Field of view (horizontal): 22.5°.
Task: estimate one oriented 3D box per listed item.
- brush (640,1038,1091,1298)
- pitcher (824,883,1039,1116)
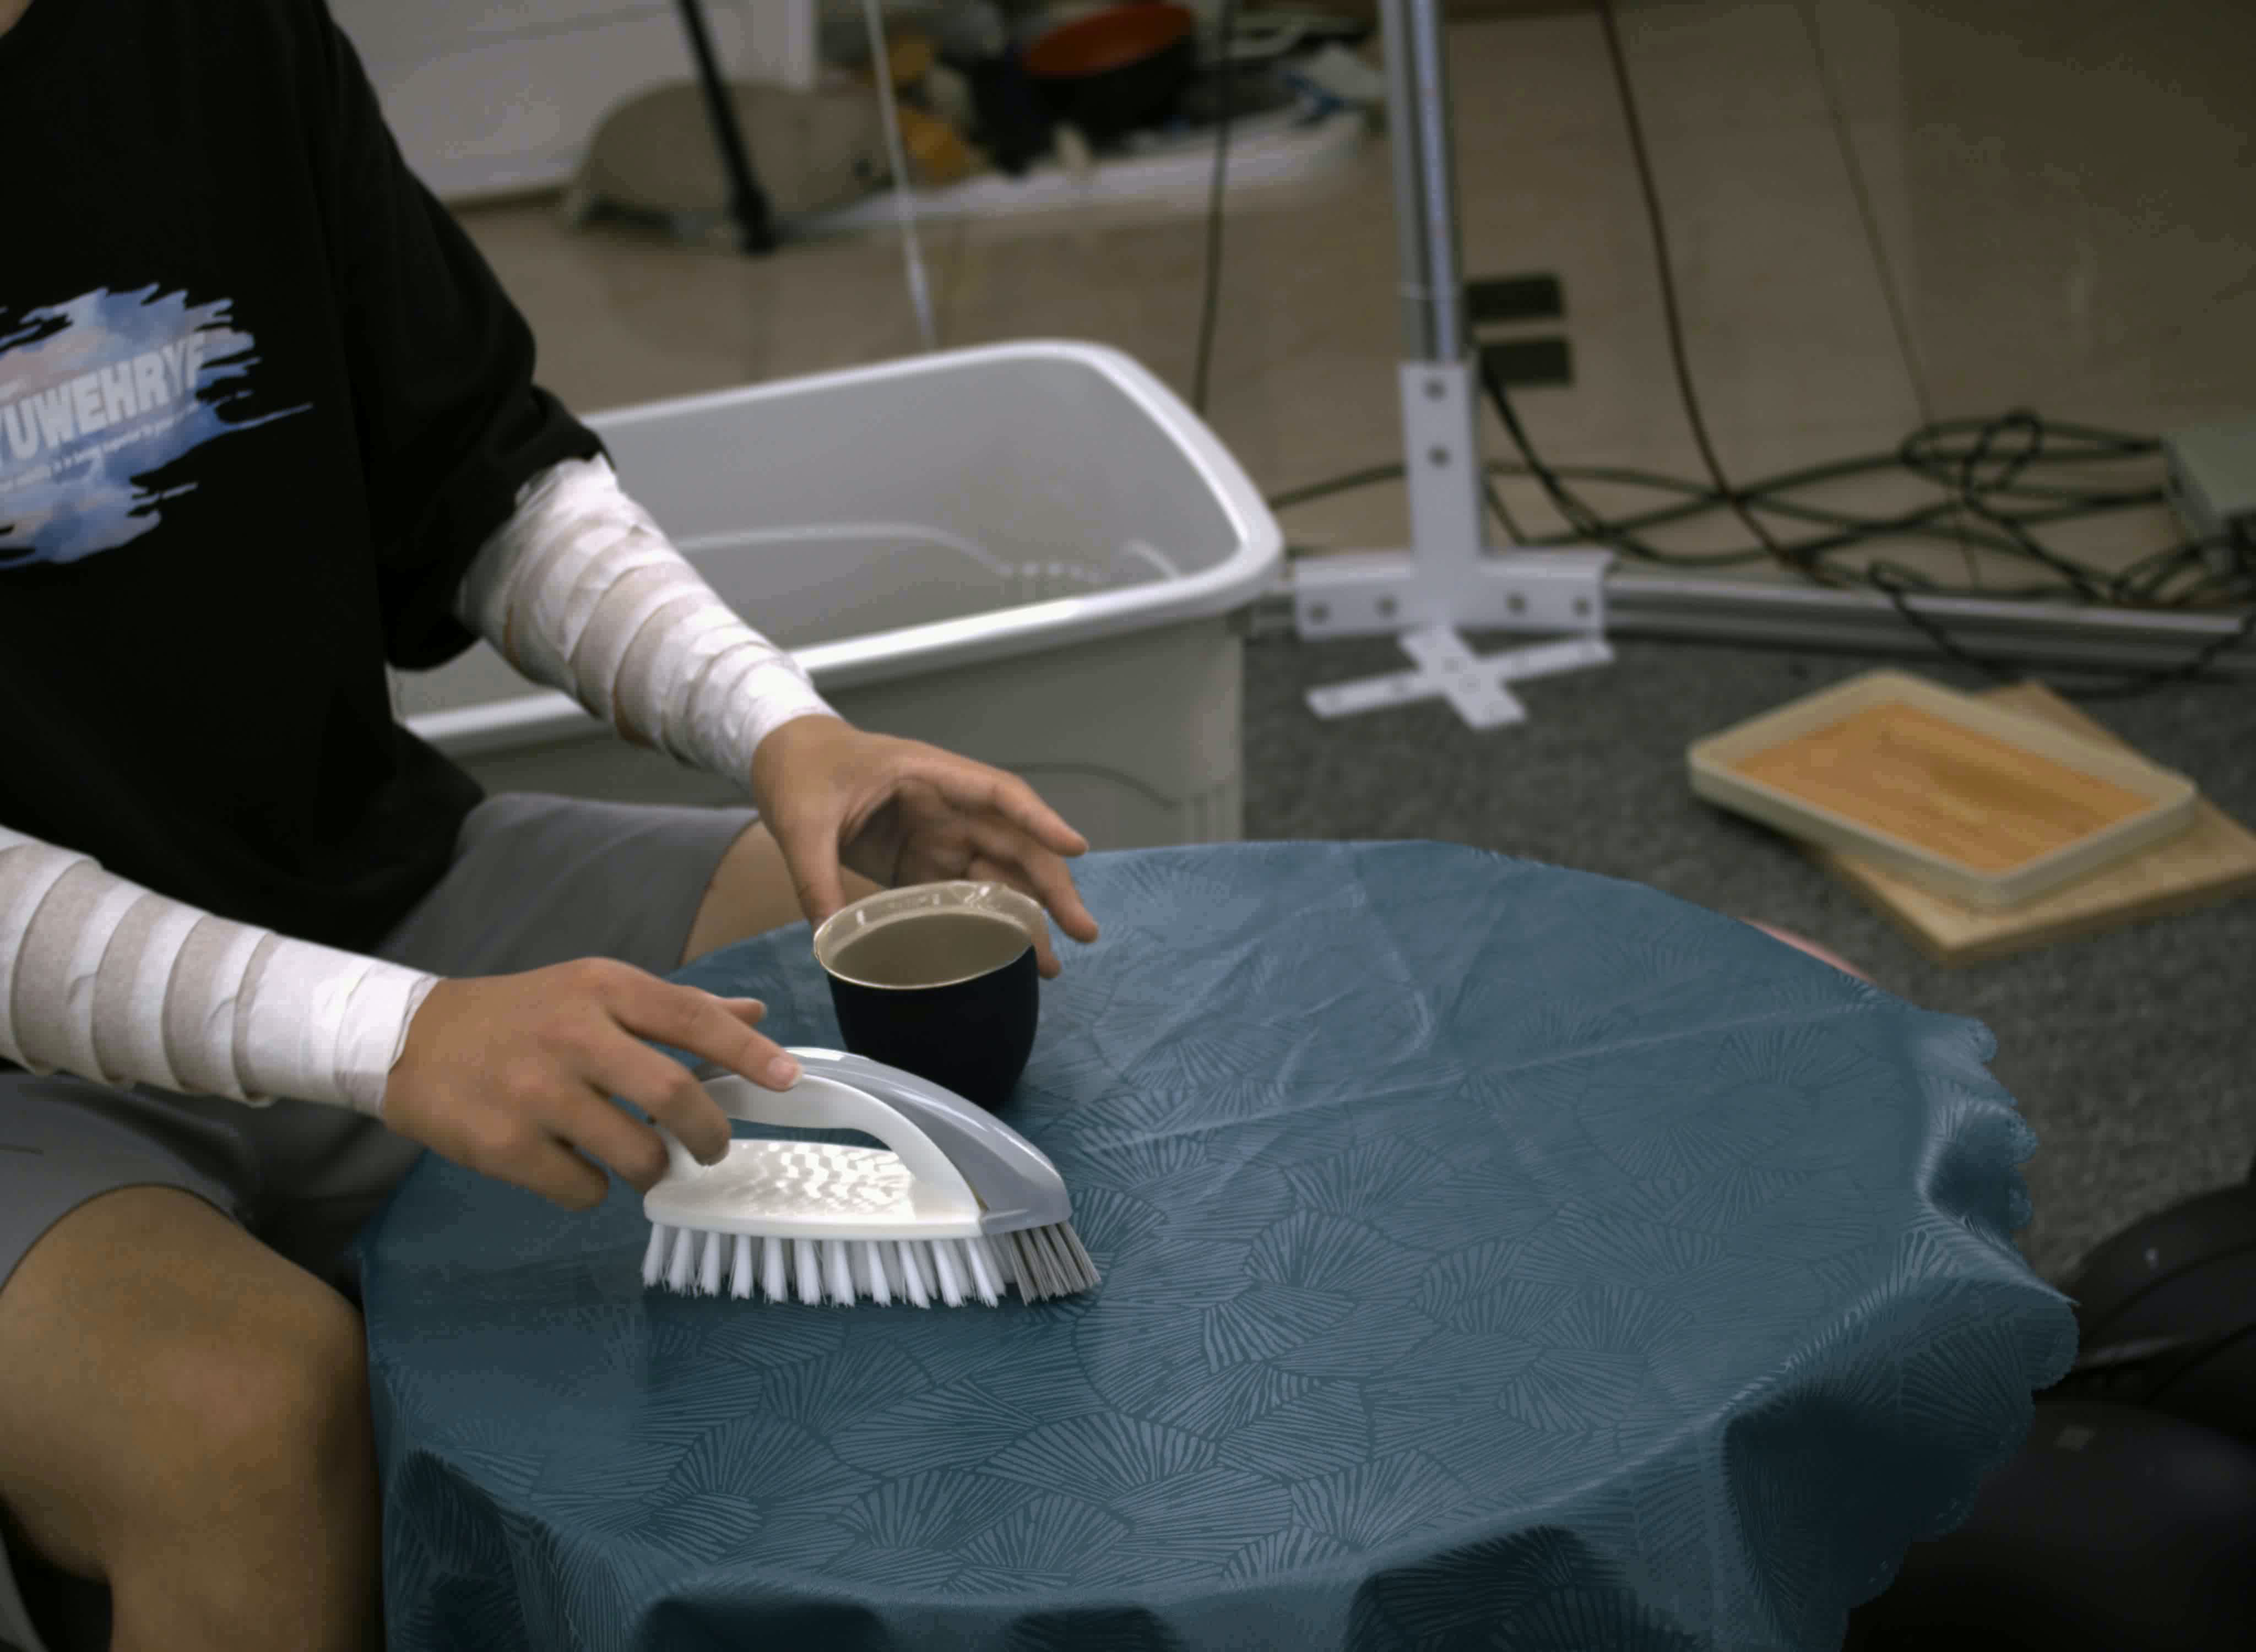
[{"bbox_3d":[-0.099,0.124,2.094,0.175,0.096,0.060,6,31,20],"label":"brush"},{"bbox_3d":[-0.073,0.072,2.224,0.083,0.072,0.095,4,24,24],"label":"pitcher"}]
